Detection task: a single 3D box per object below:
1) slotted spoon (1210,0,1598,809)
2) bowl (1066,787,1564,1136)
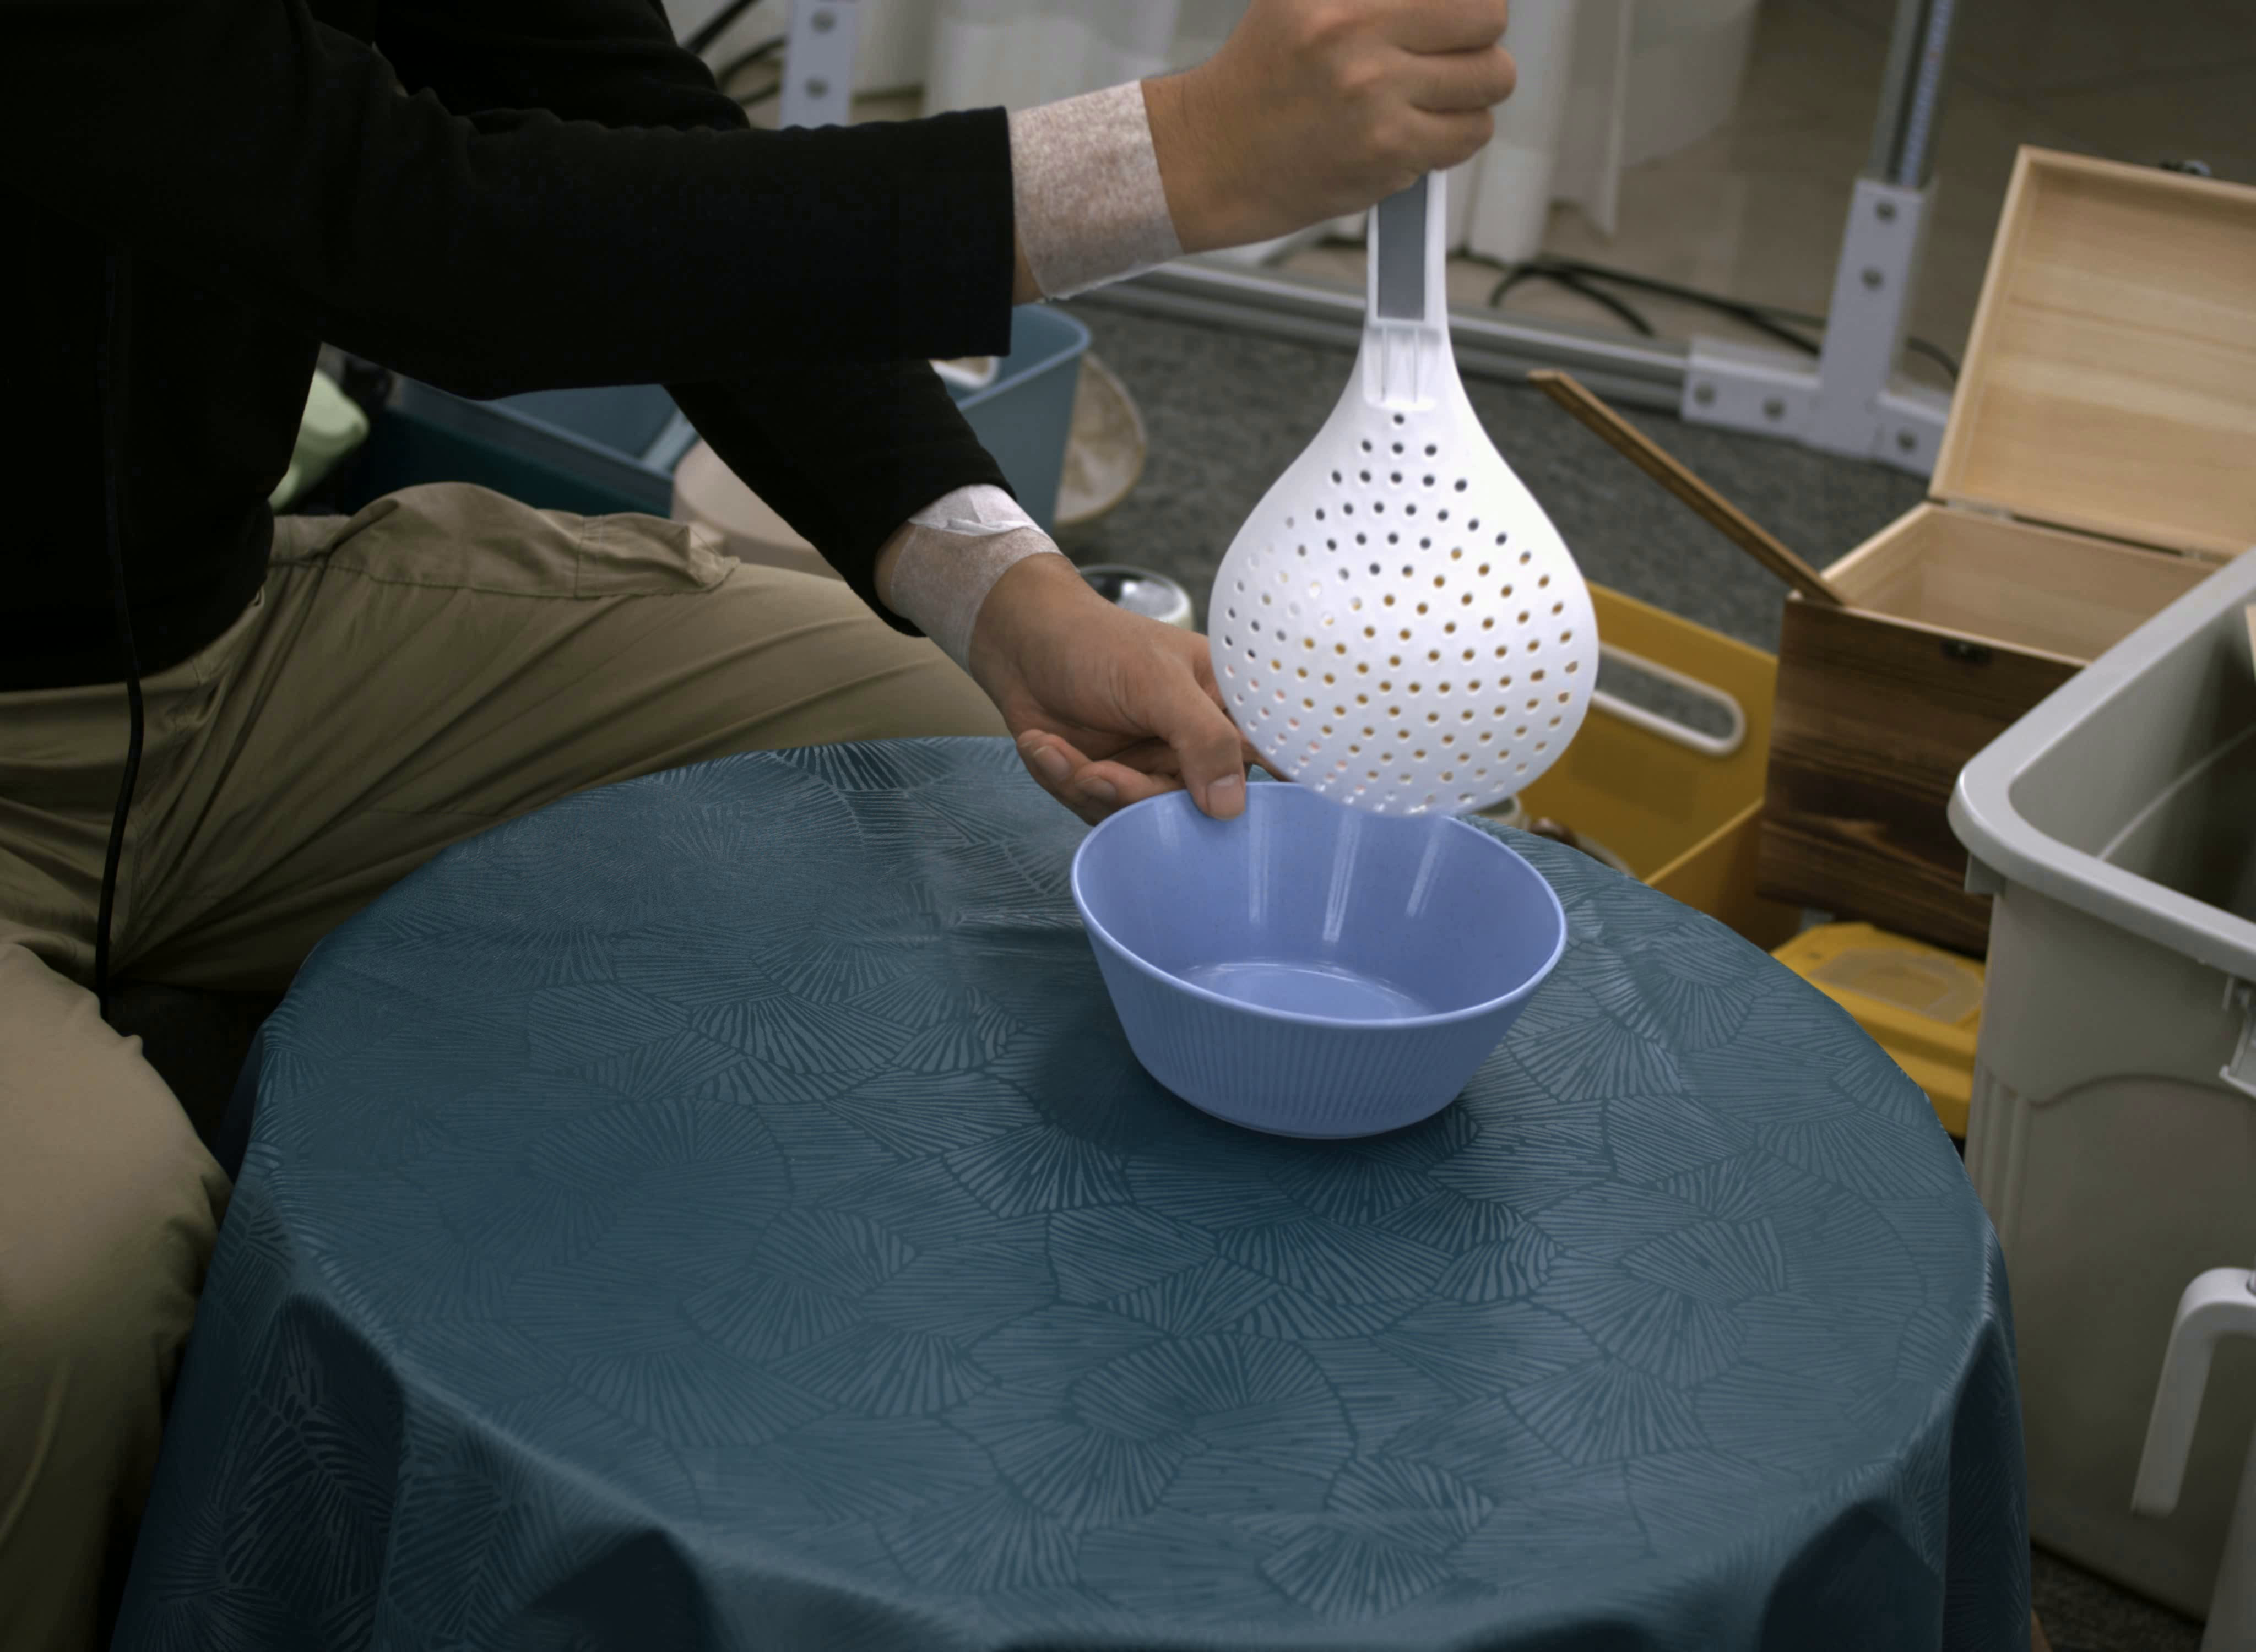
[{"bbox_3d":[0.092,-0.160,1.793,0.136,0.349,0.046,4,22,10],"label":"slotted spoon"},{"bbox_3d":[0.063,0.053,1.878,0.175,0.070,0.177,4,26,-2],"label":"bowl"}]
